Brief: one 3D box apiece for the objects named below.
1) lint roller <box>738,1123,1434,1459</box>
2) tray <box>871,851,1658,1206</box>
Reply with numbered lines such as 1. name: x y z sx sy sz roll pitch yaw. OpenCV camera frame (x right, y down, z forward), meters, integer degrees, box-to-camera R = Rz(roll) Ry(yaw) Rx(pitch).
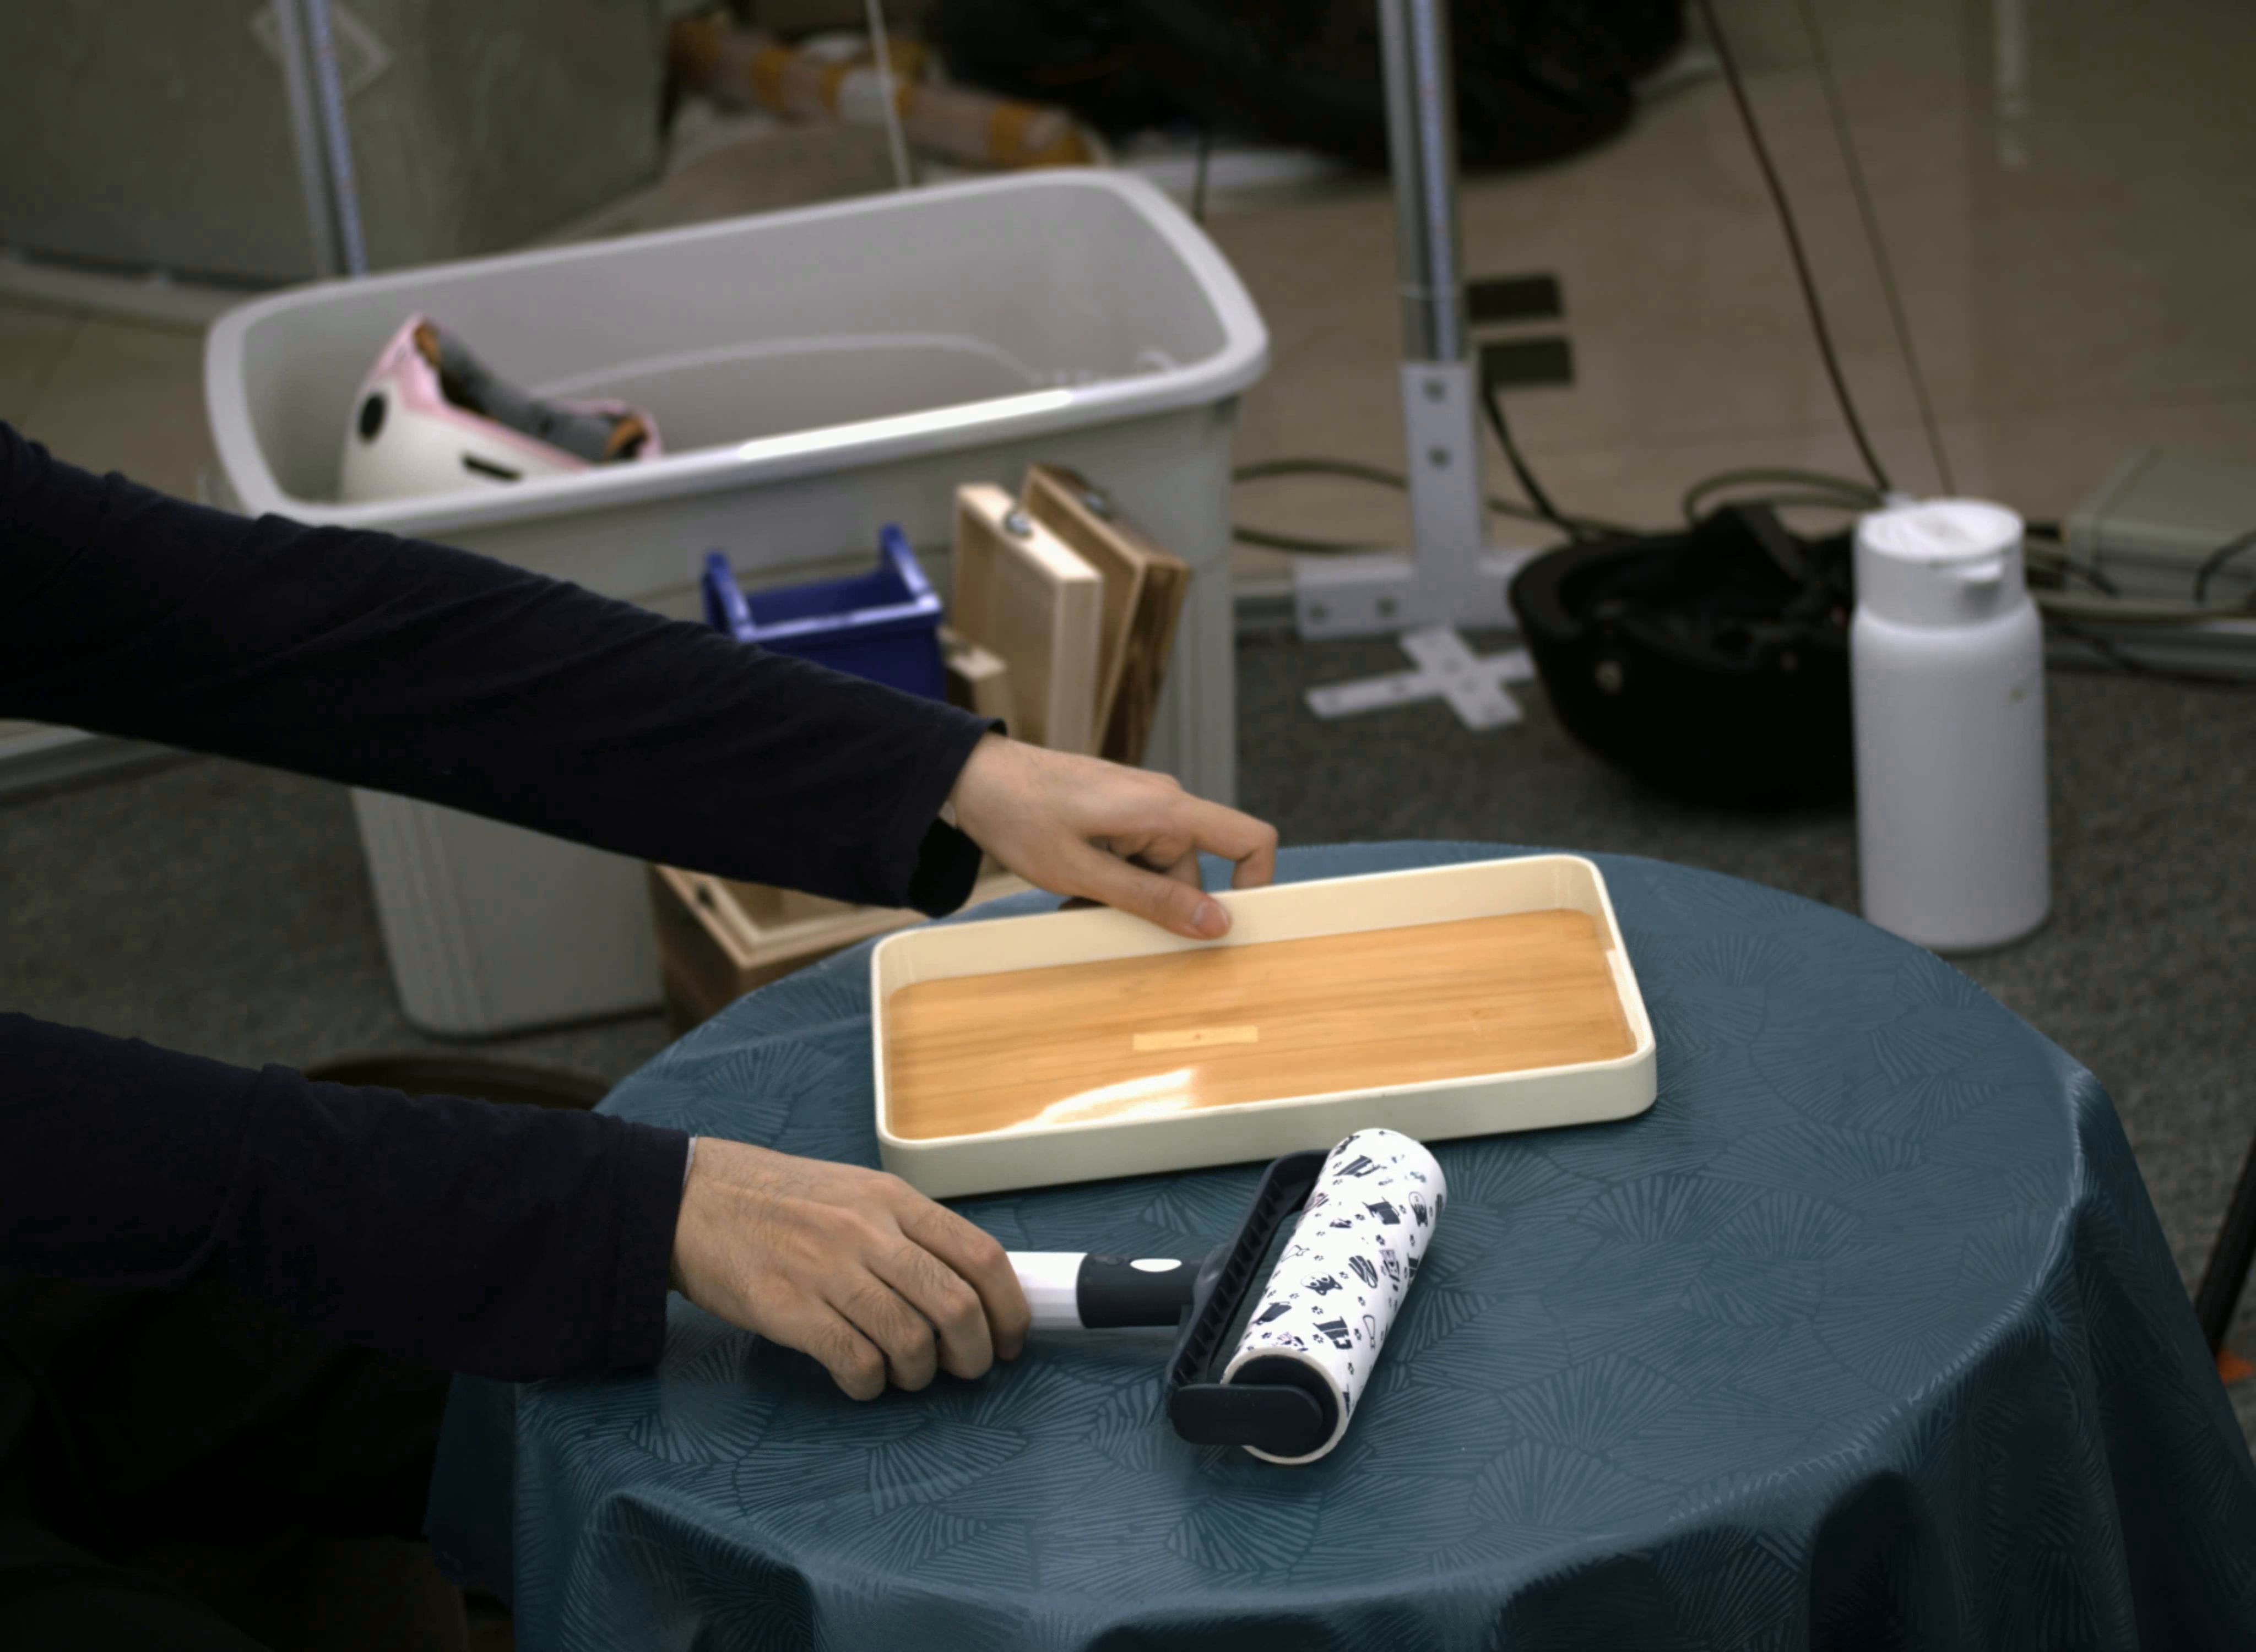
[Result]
1. lint roller: -0.025 0.167 2.046 0.246 0.051 0.174 -1 26 16
2. tray: 0.050 0.078 2.230 0.300 0.028 0.188 -6 28 0
